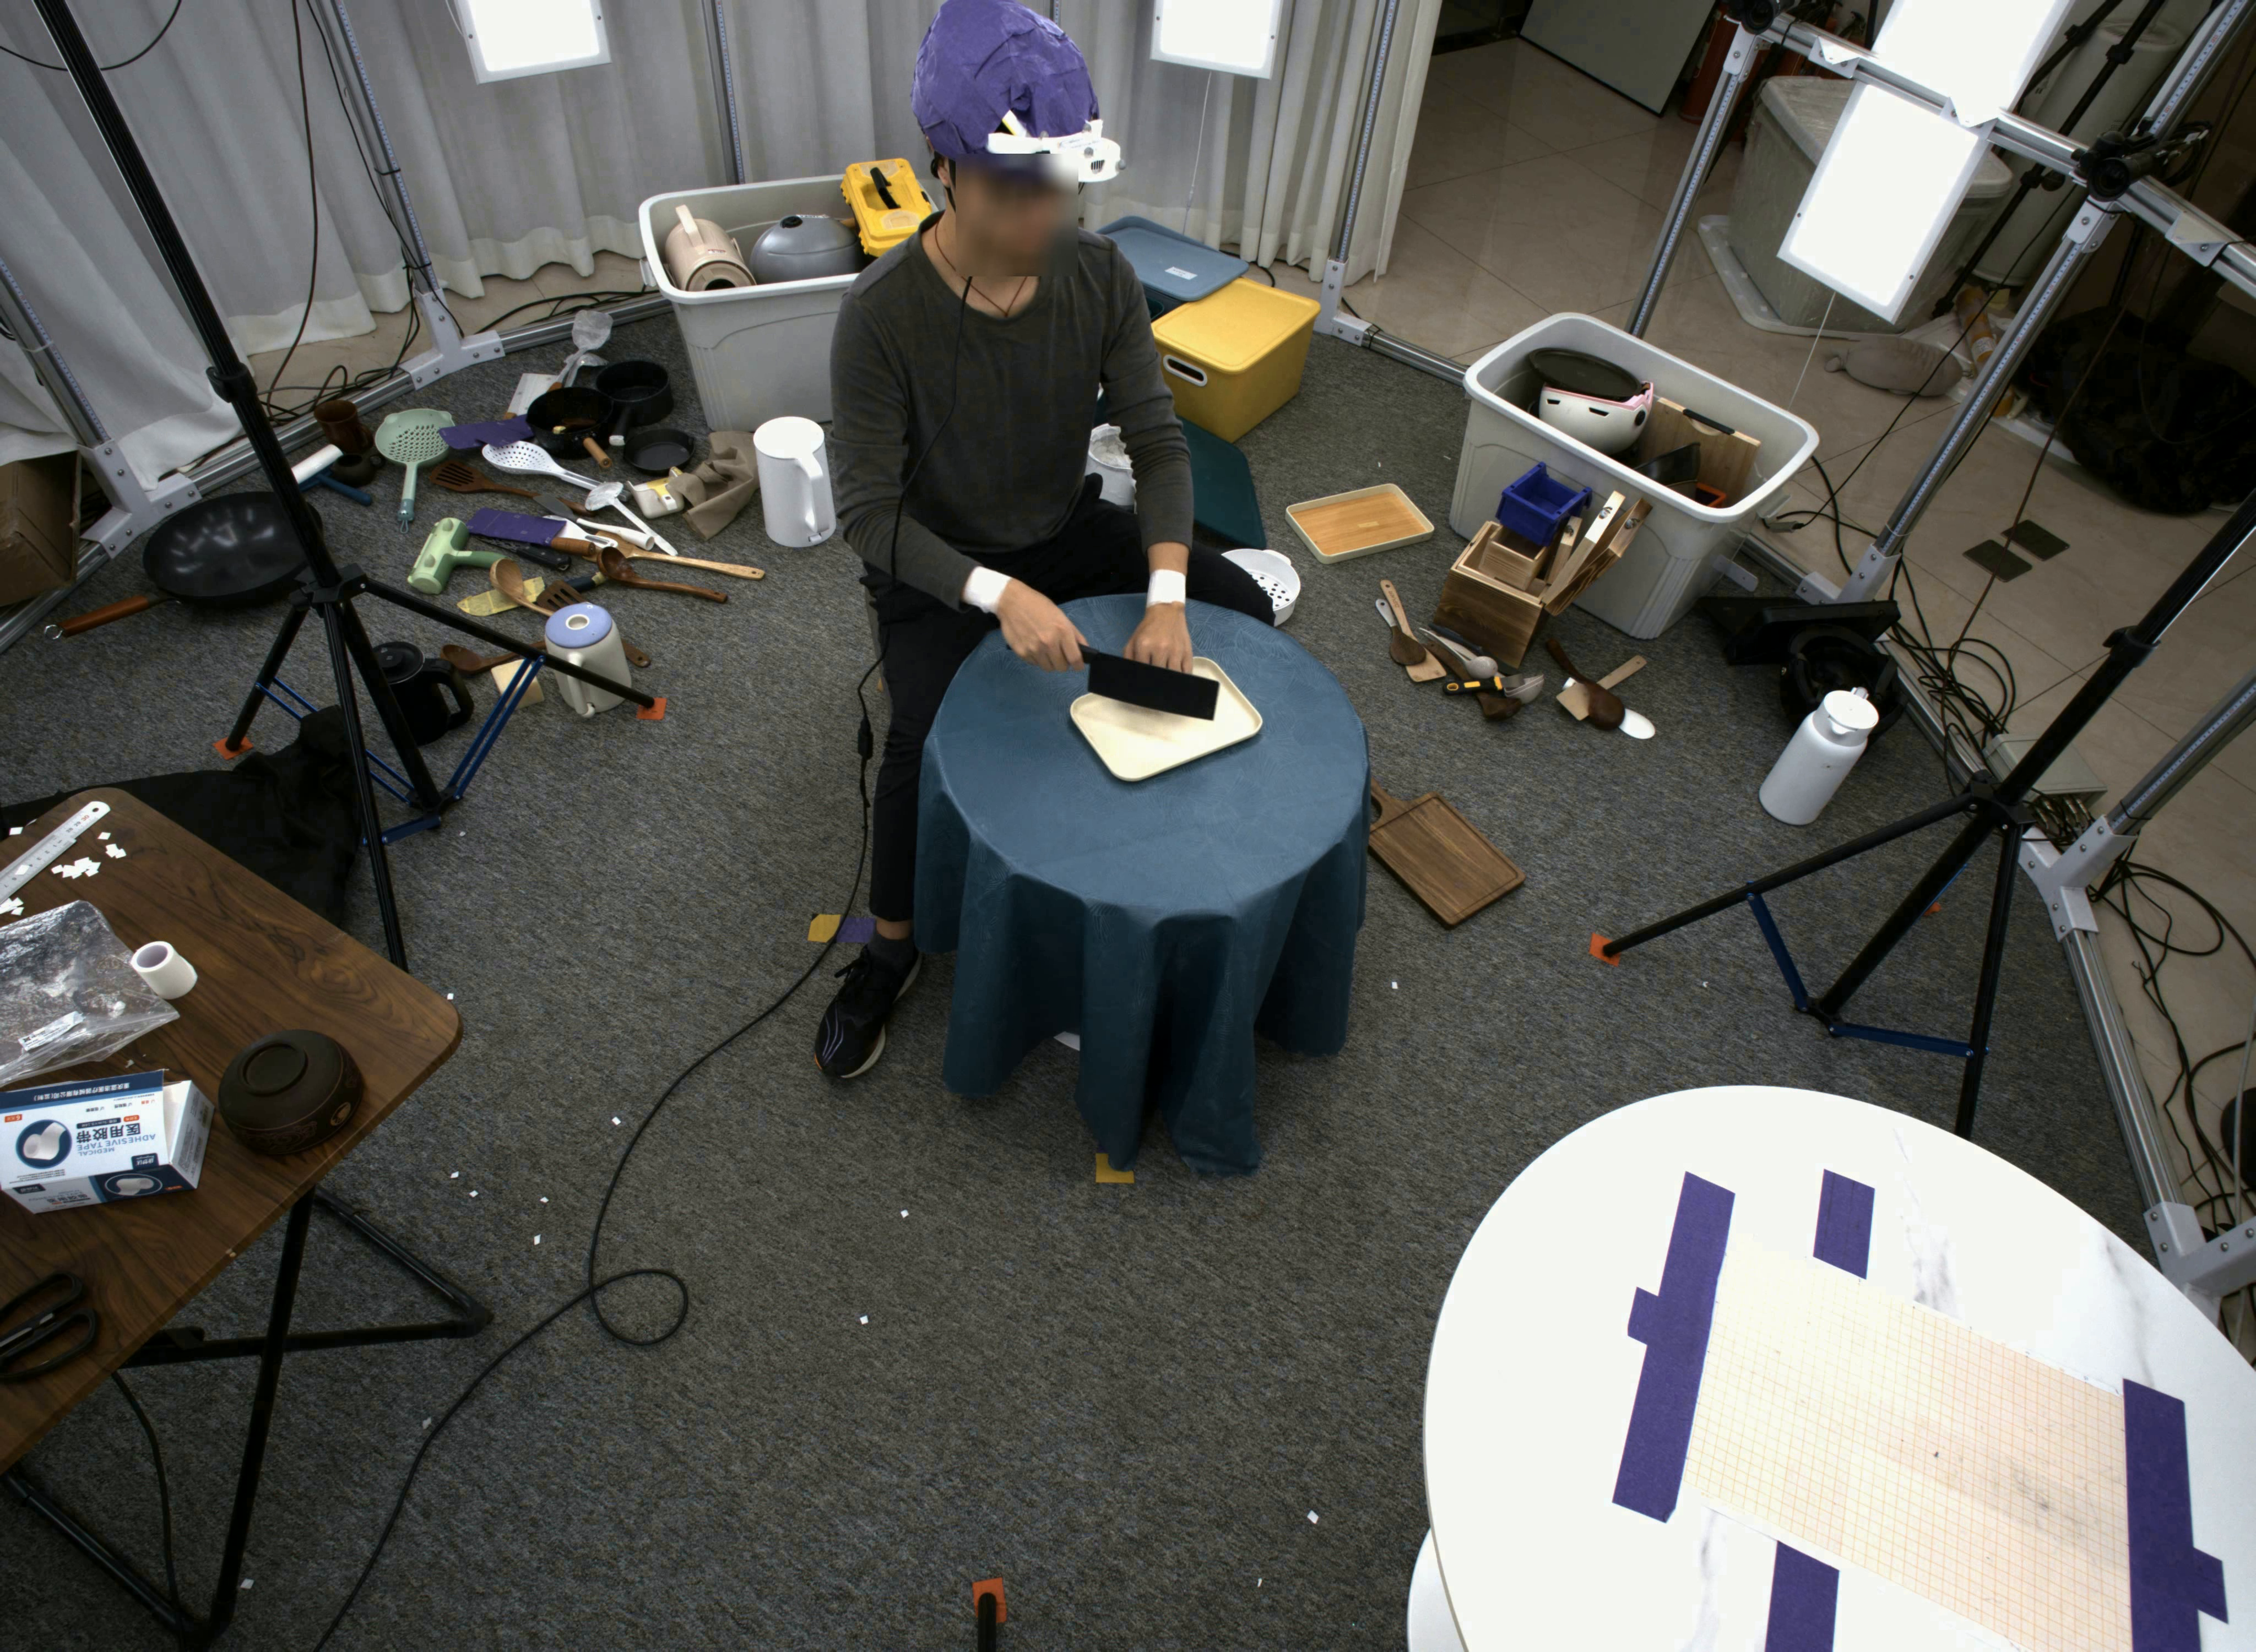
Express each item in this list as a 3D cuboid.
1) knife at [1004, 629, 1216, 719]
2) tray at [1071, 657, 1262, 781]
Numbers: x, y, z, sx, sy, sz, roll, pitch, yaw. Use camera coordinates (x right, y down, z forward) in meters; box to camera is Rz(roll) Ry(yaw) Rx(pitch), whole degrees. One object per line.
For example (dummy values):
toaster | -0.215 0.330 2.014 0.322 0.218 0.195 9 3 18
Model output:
knife | -0.026 -0.207 1.727 0.303 0.079 0.021 19 35 11
tray | 0.054 -0.150 1.790 0.240 0.017 0.175 -22 53 -21
